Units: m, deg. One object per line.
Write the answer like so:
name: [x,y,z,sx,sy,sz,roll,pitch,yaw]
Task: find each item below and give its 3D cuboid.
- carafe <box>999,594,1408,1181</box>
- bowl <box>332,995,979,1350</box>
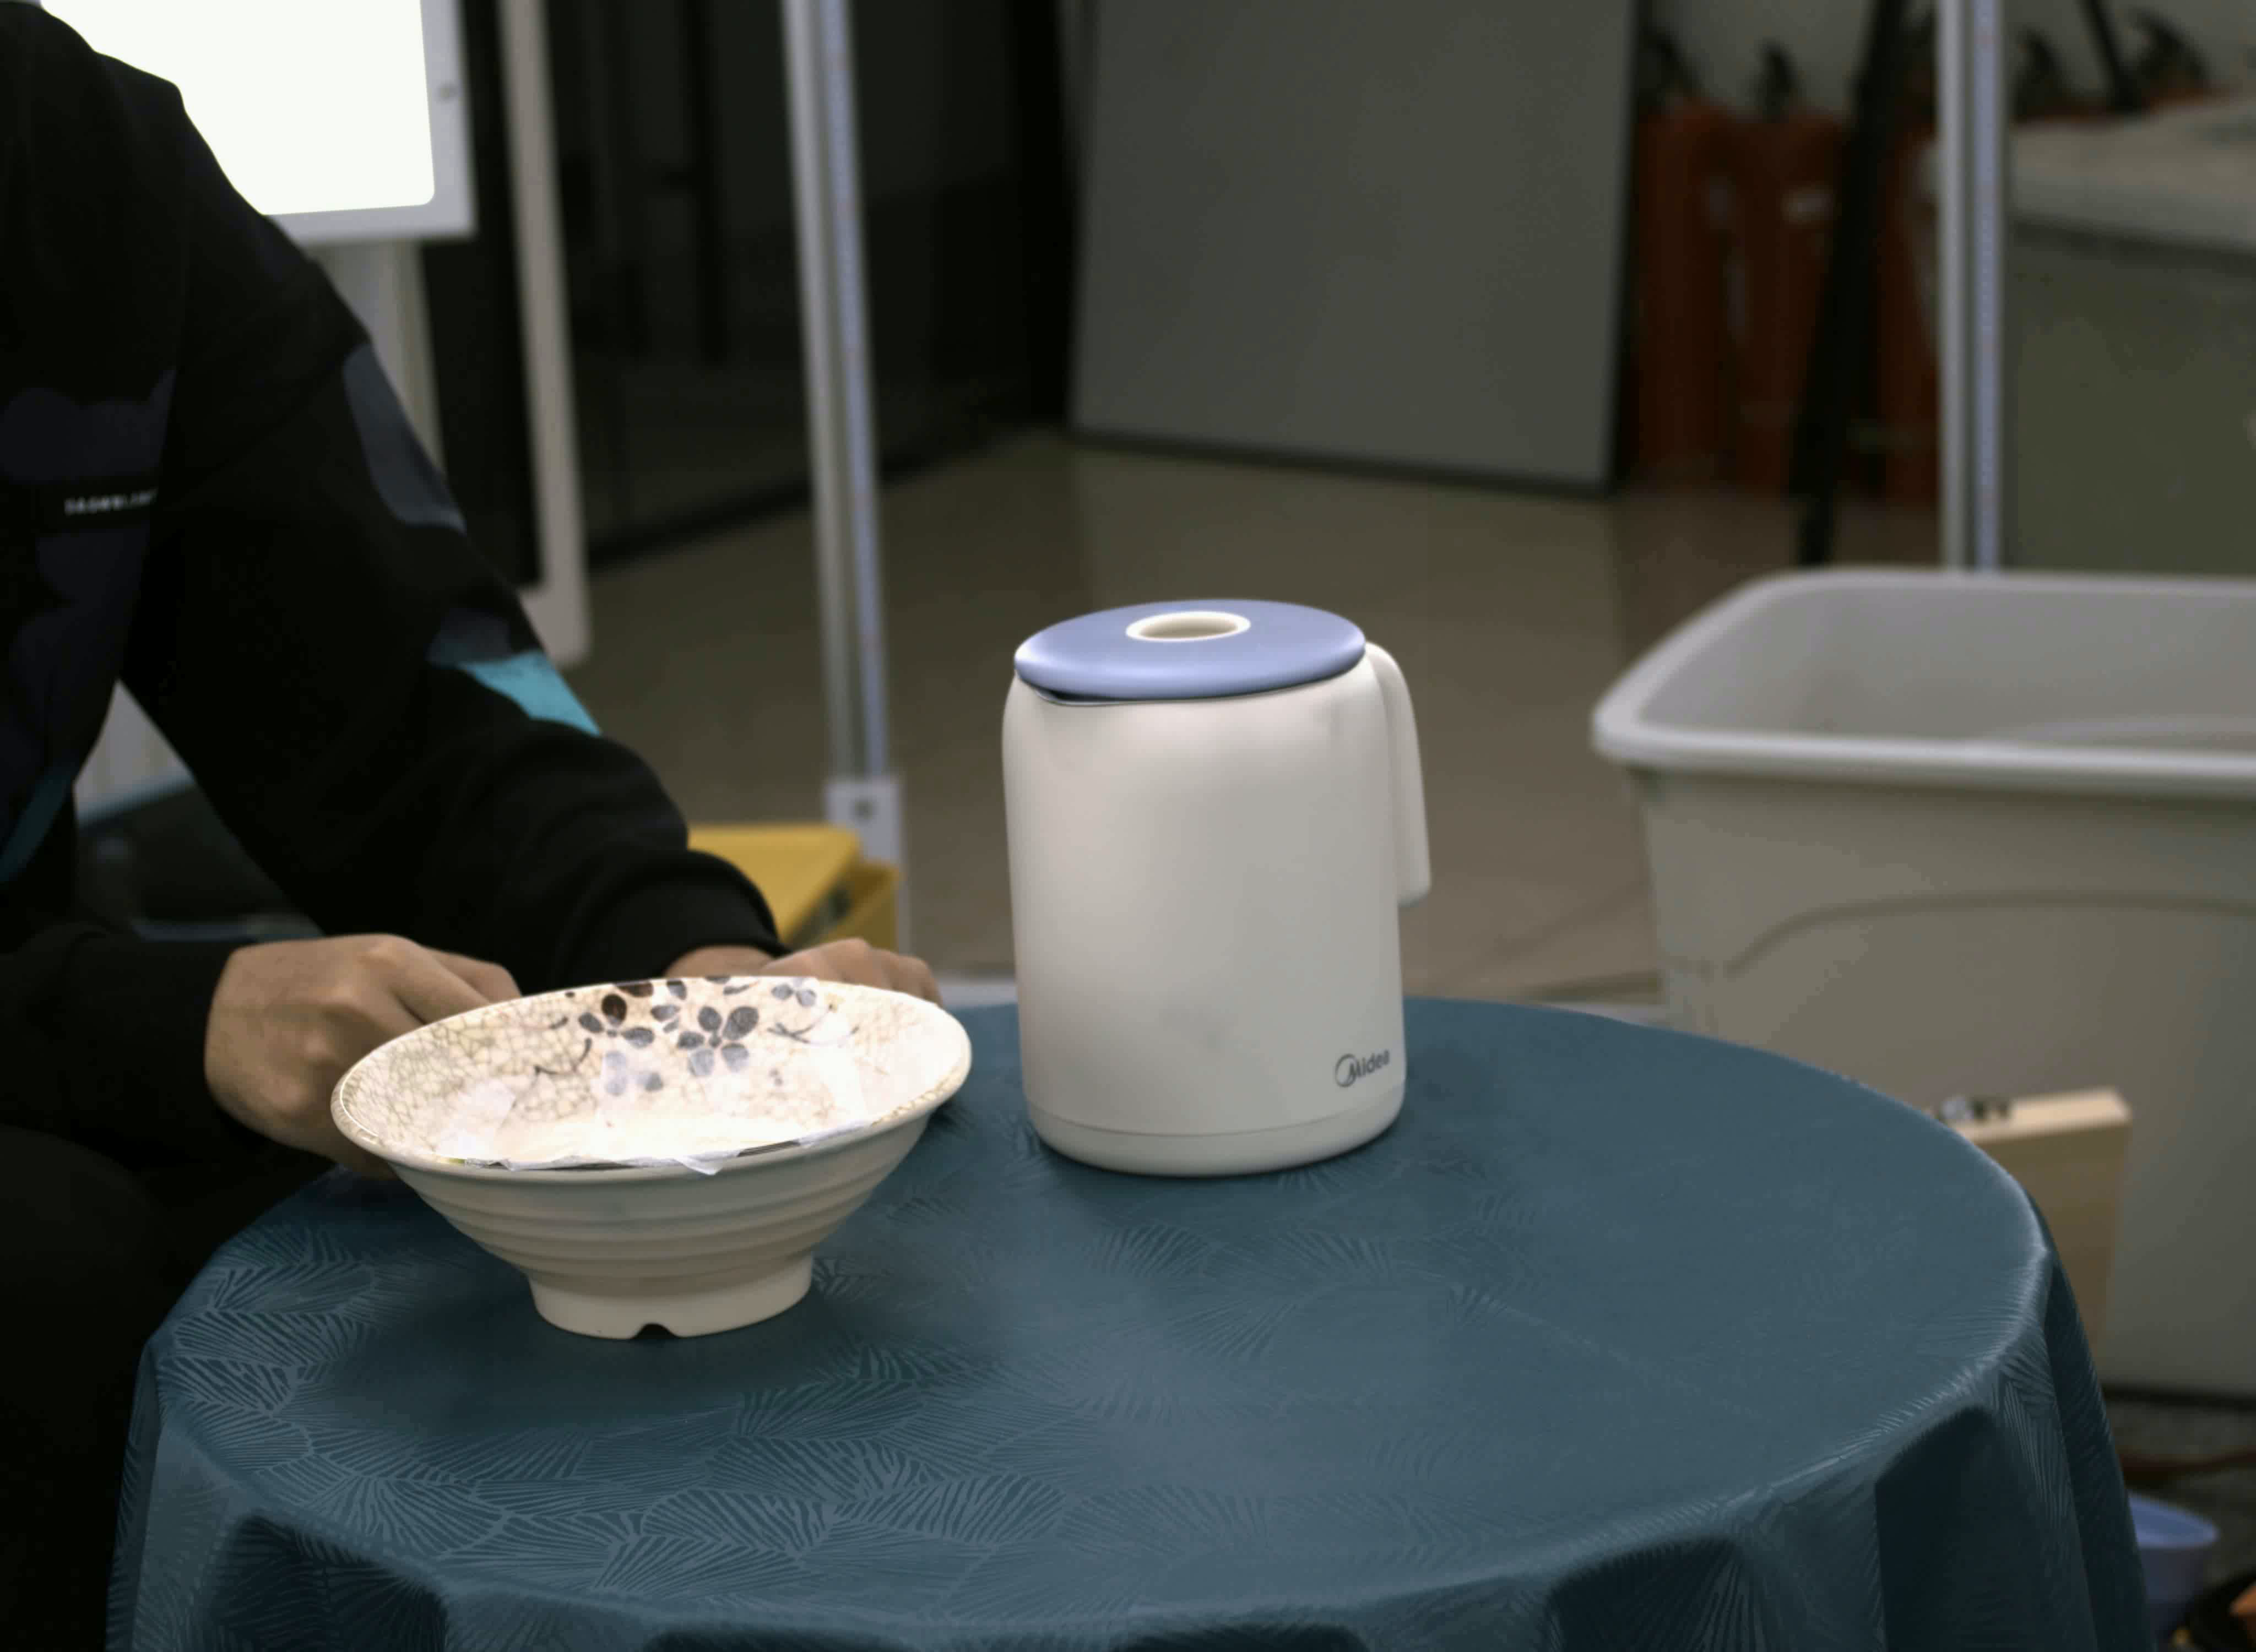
carafe: [0.038,0.015,1.833,0.133,0.184,0.187,8,16,38]
bowl: [-0.143,0.114,1.688,0.201,0.079,0.204,-5,11,0]
